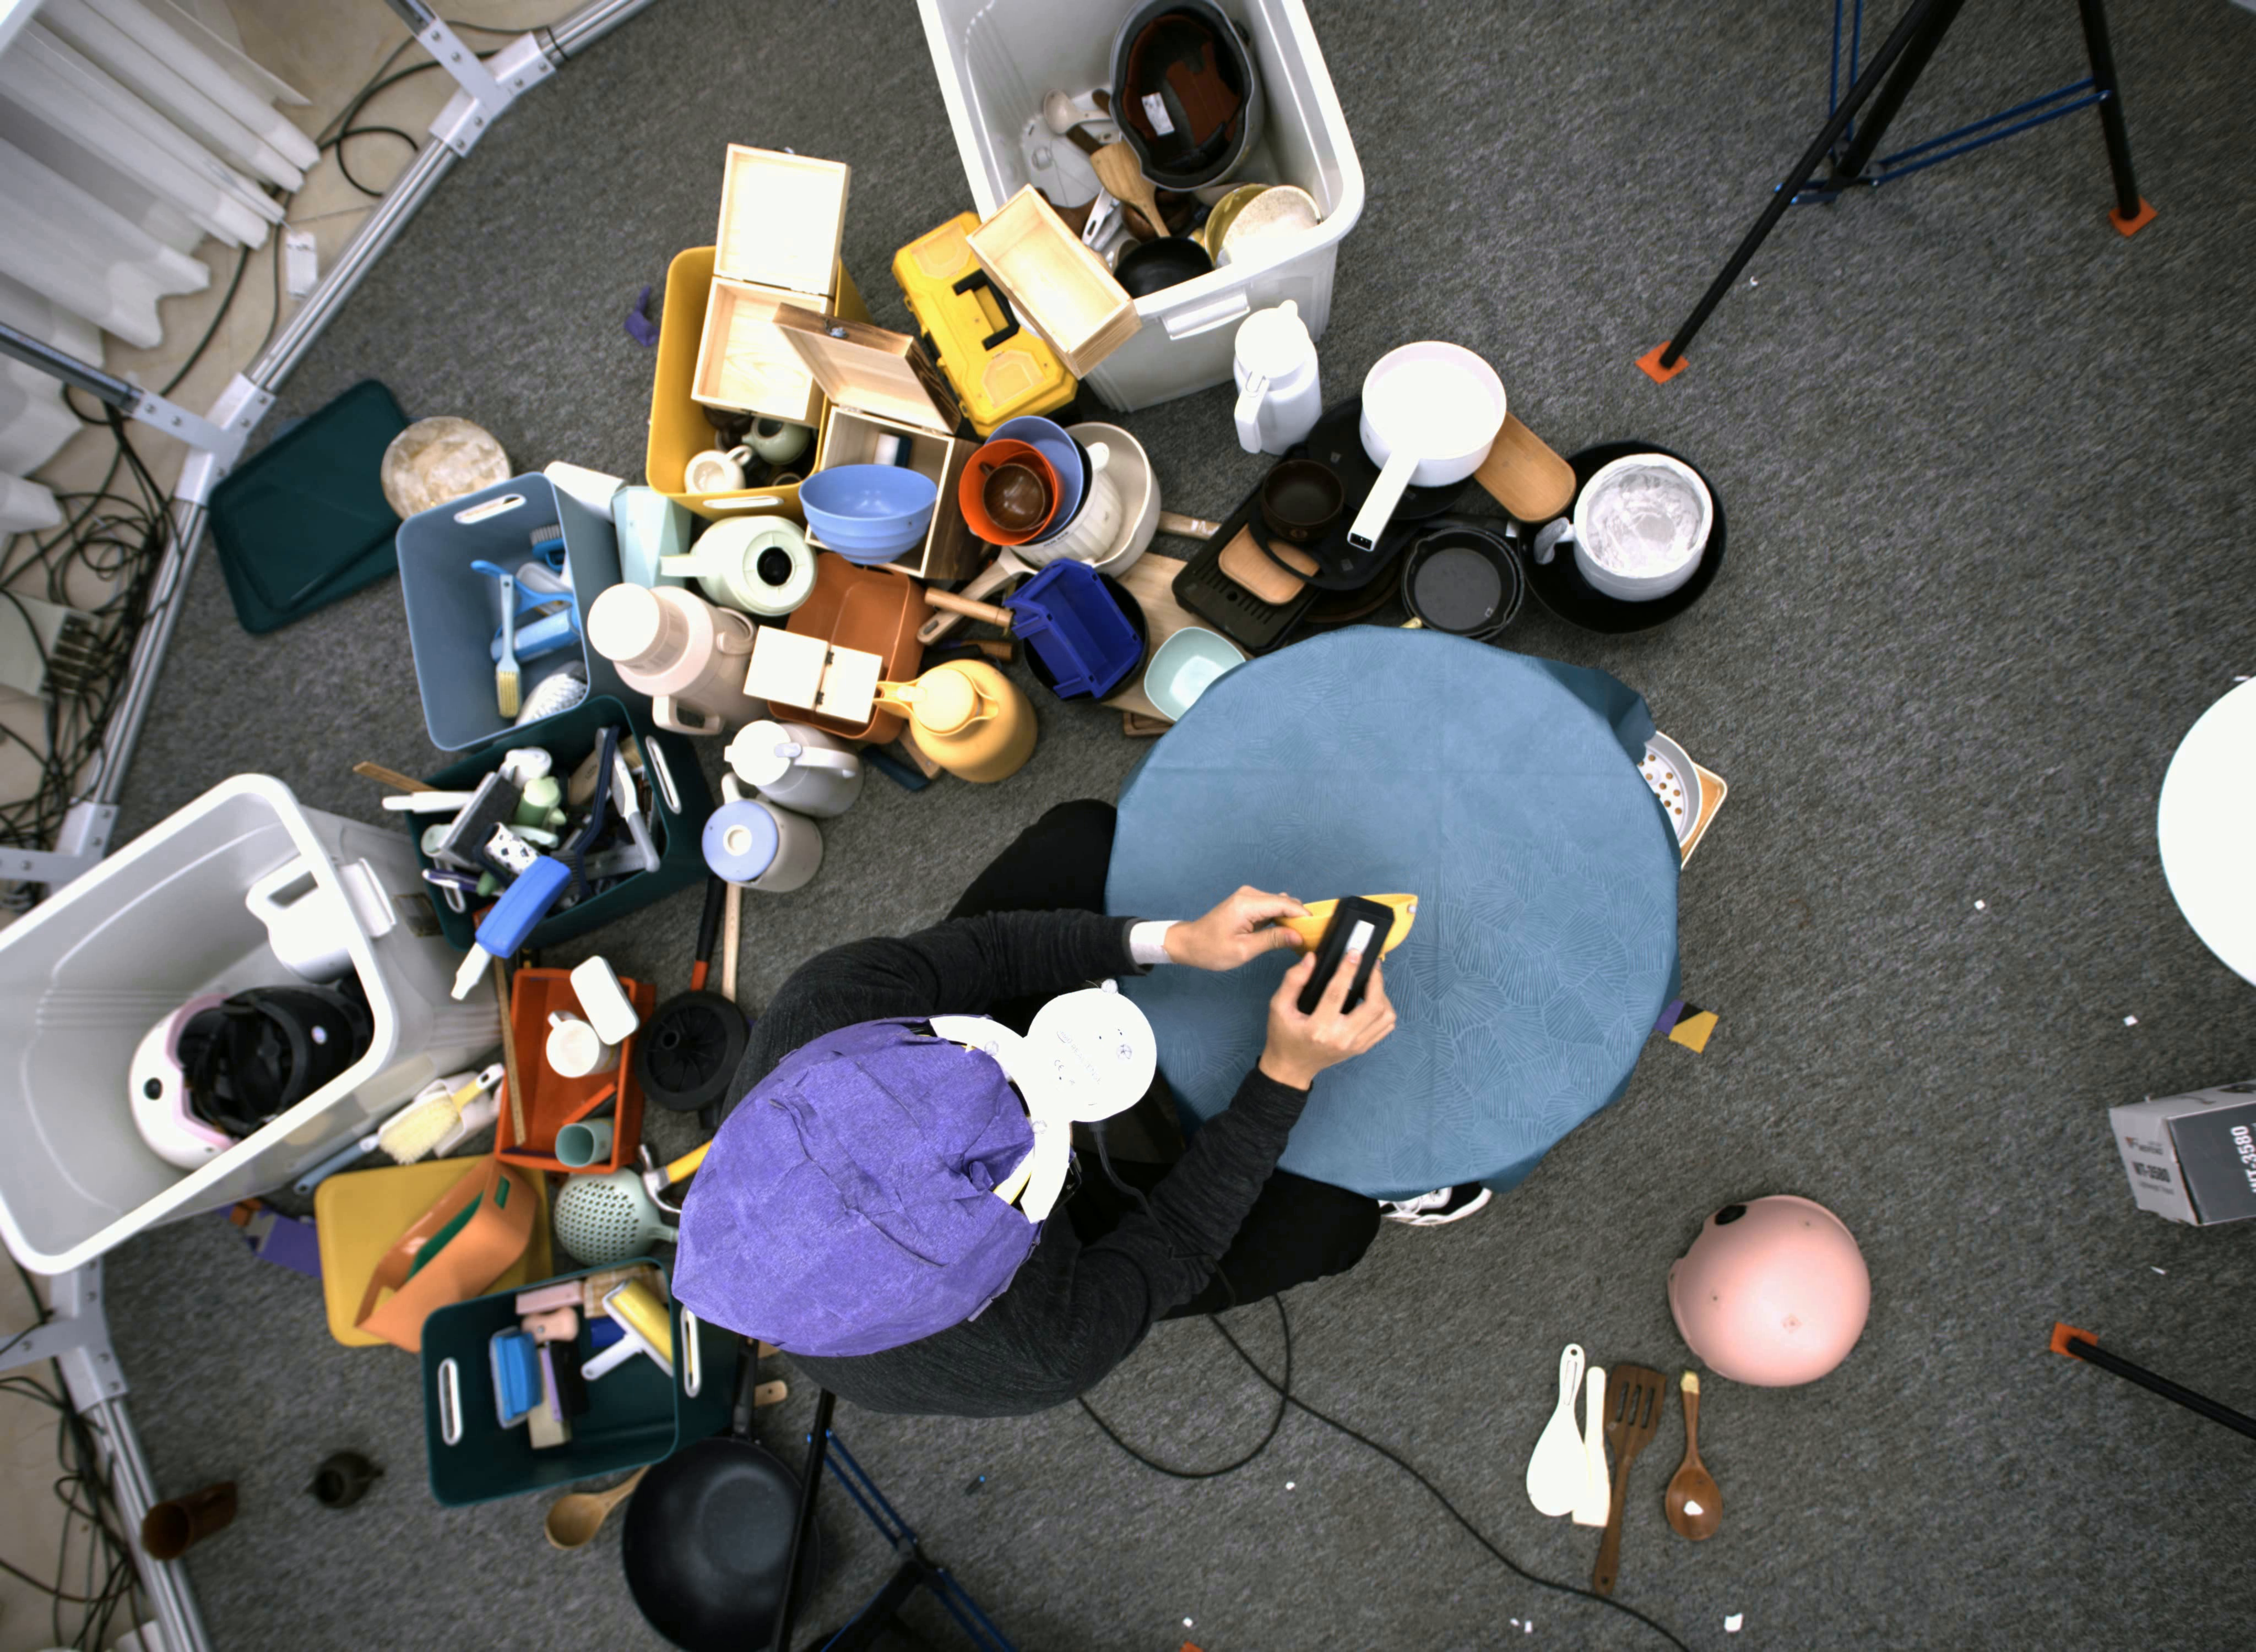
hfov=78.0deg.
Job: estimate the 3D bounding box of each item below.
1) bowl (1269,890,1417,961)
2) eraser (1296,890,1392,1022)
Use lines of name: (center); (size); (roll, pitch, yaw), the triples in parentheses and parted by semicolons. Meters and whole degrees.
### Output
bowl: (0.213, 0.102, 1.351); (0.146, 0.144, 0.060); (-8, 91, 9)
eraser: (0.200, 0.121, 1.293); (0.053, 0.030, 0.128); (15, 119, -3)
